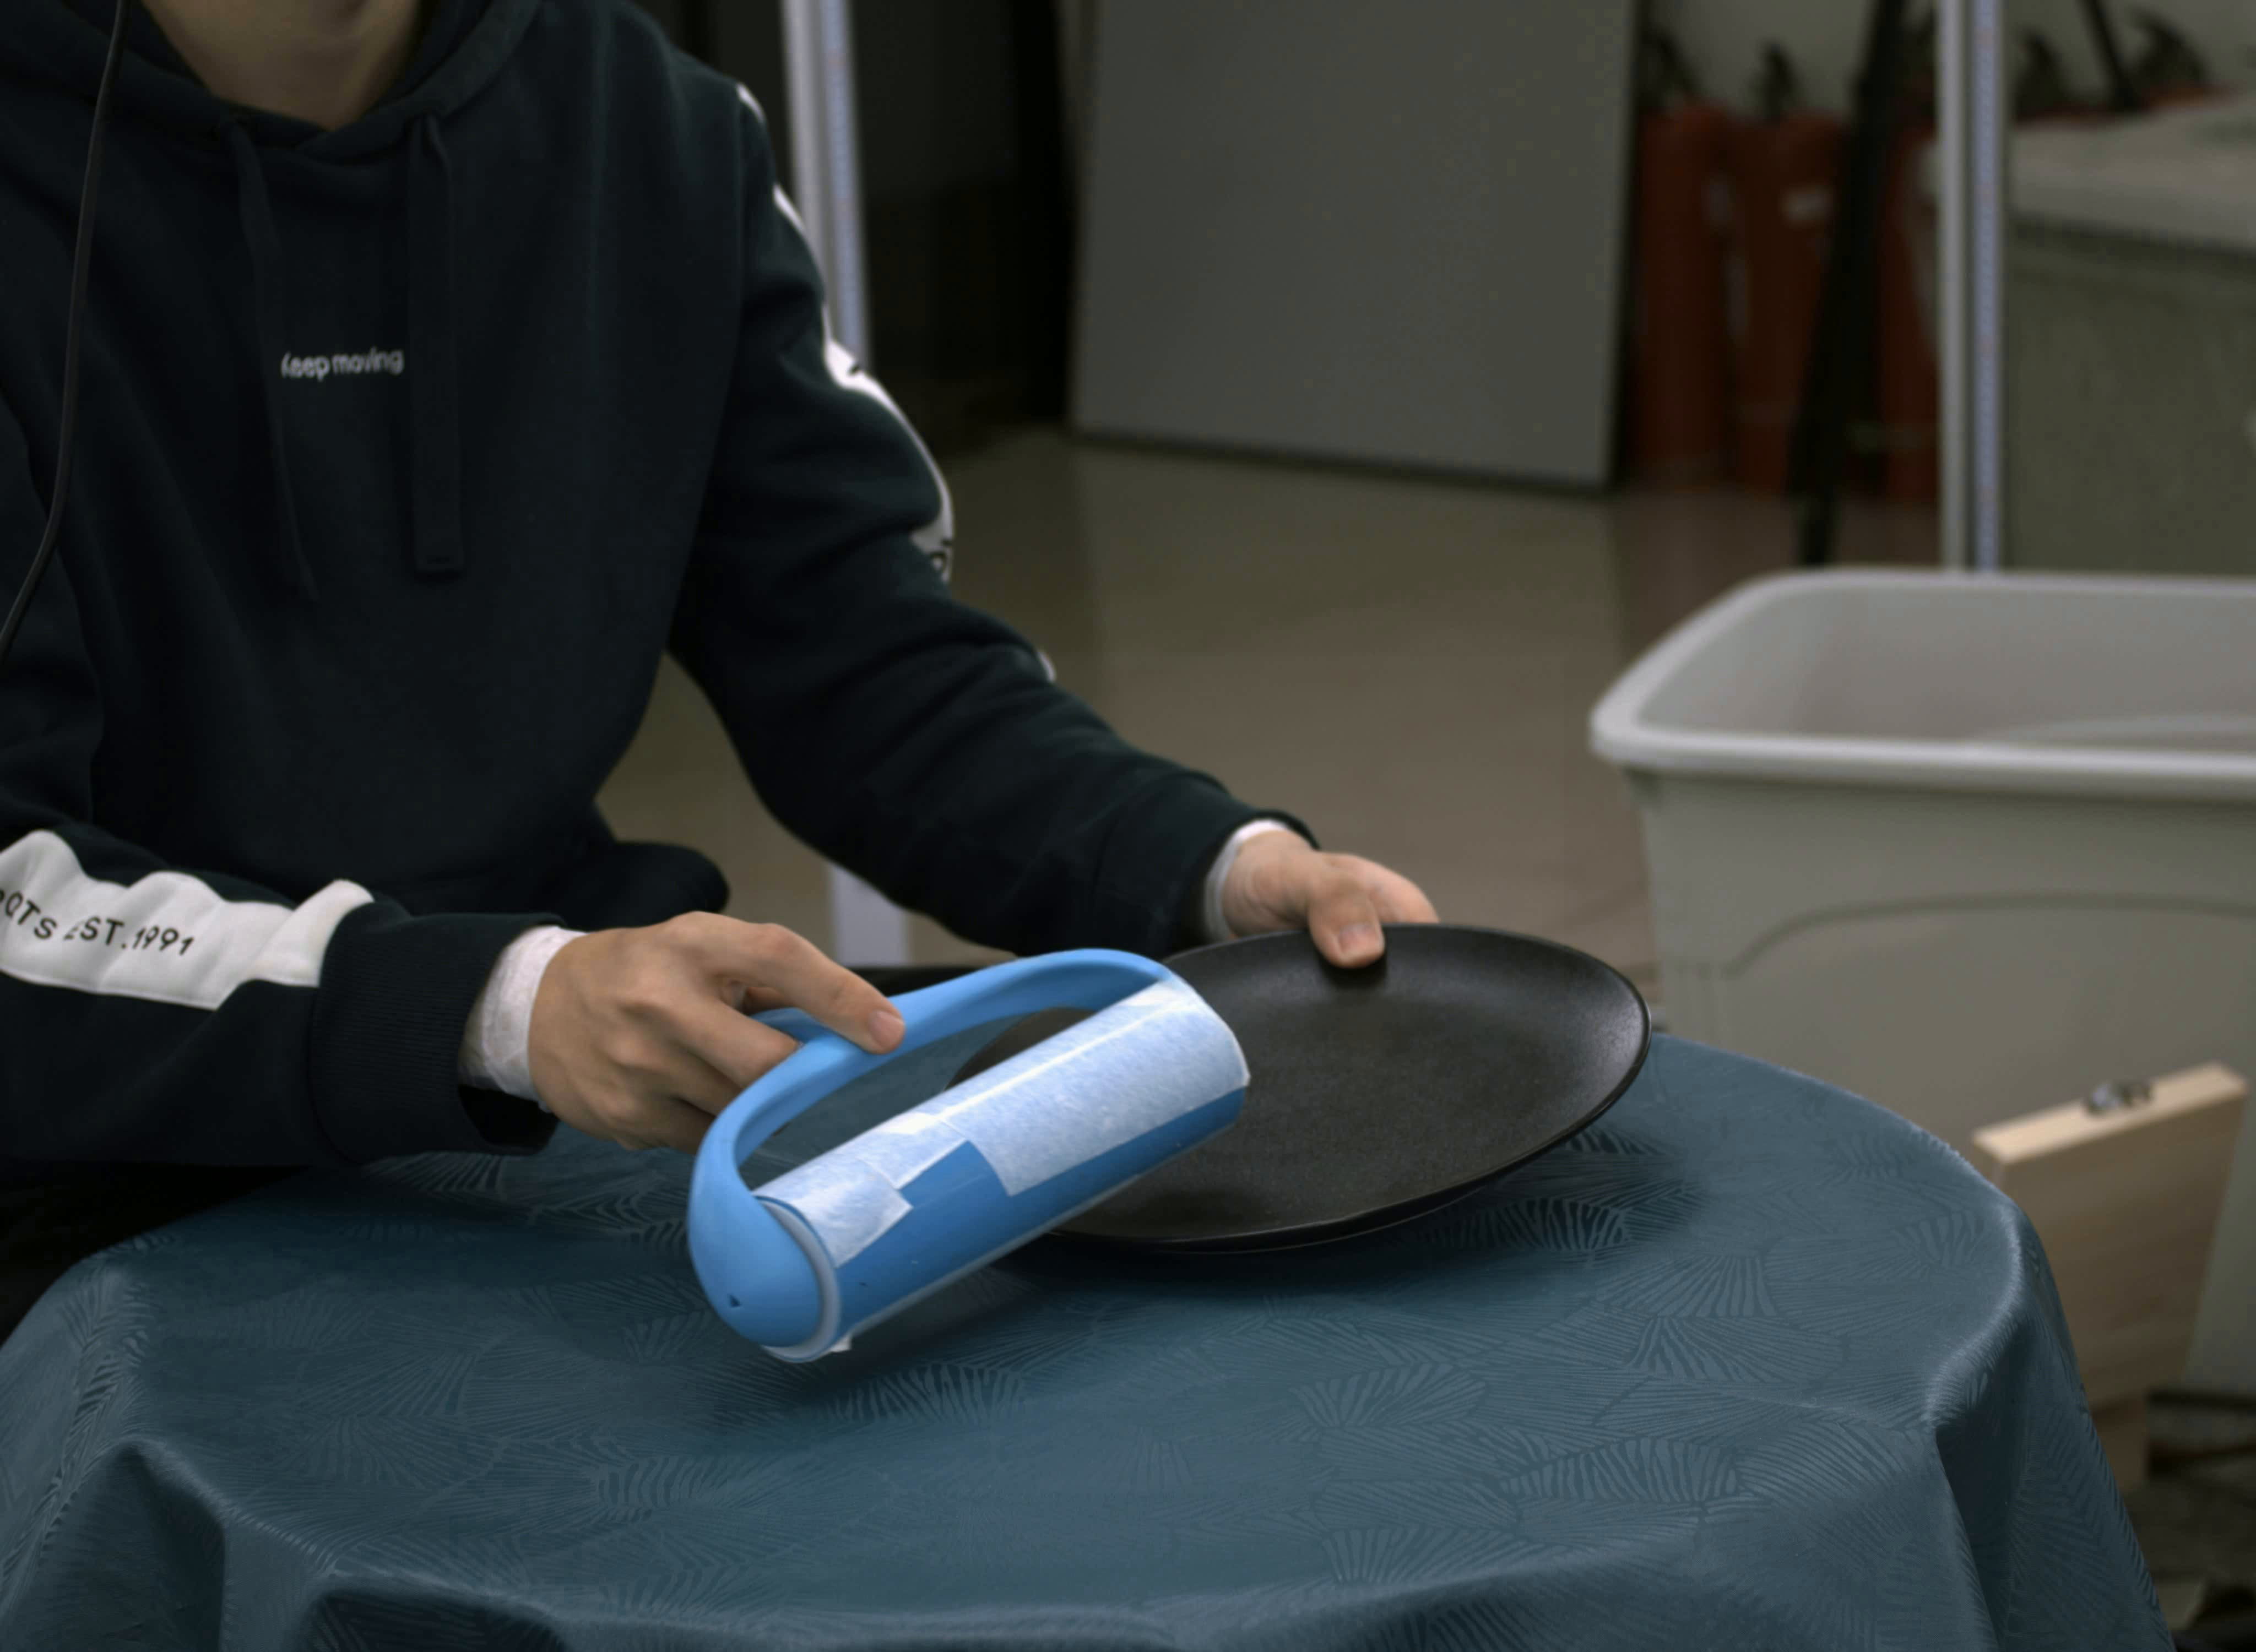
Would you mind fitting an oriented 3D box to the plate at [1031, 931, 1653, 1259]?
[{"bbox_3d":[0.055,0.091,1.770,0.242,0.023,0.245,-11,20,3],"label":"plate"}]

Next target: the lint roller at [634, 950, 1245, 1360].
[{"bbox_3d":[-0.089,0.091,1.691,0.181,0.068,0.225,14,28,35],"label":"lint roller"}]
